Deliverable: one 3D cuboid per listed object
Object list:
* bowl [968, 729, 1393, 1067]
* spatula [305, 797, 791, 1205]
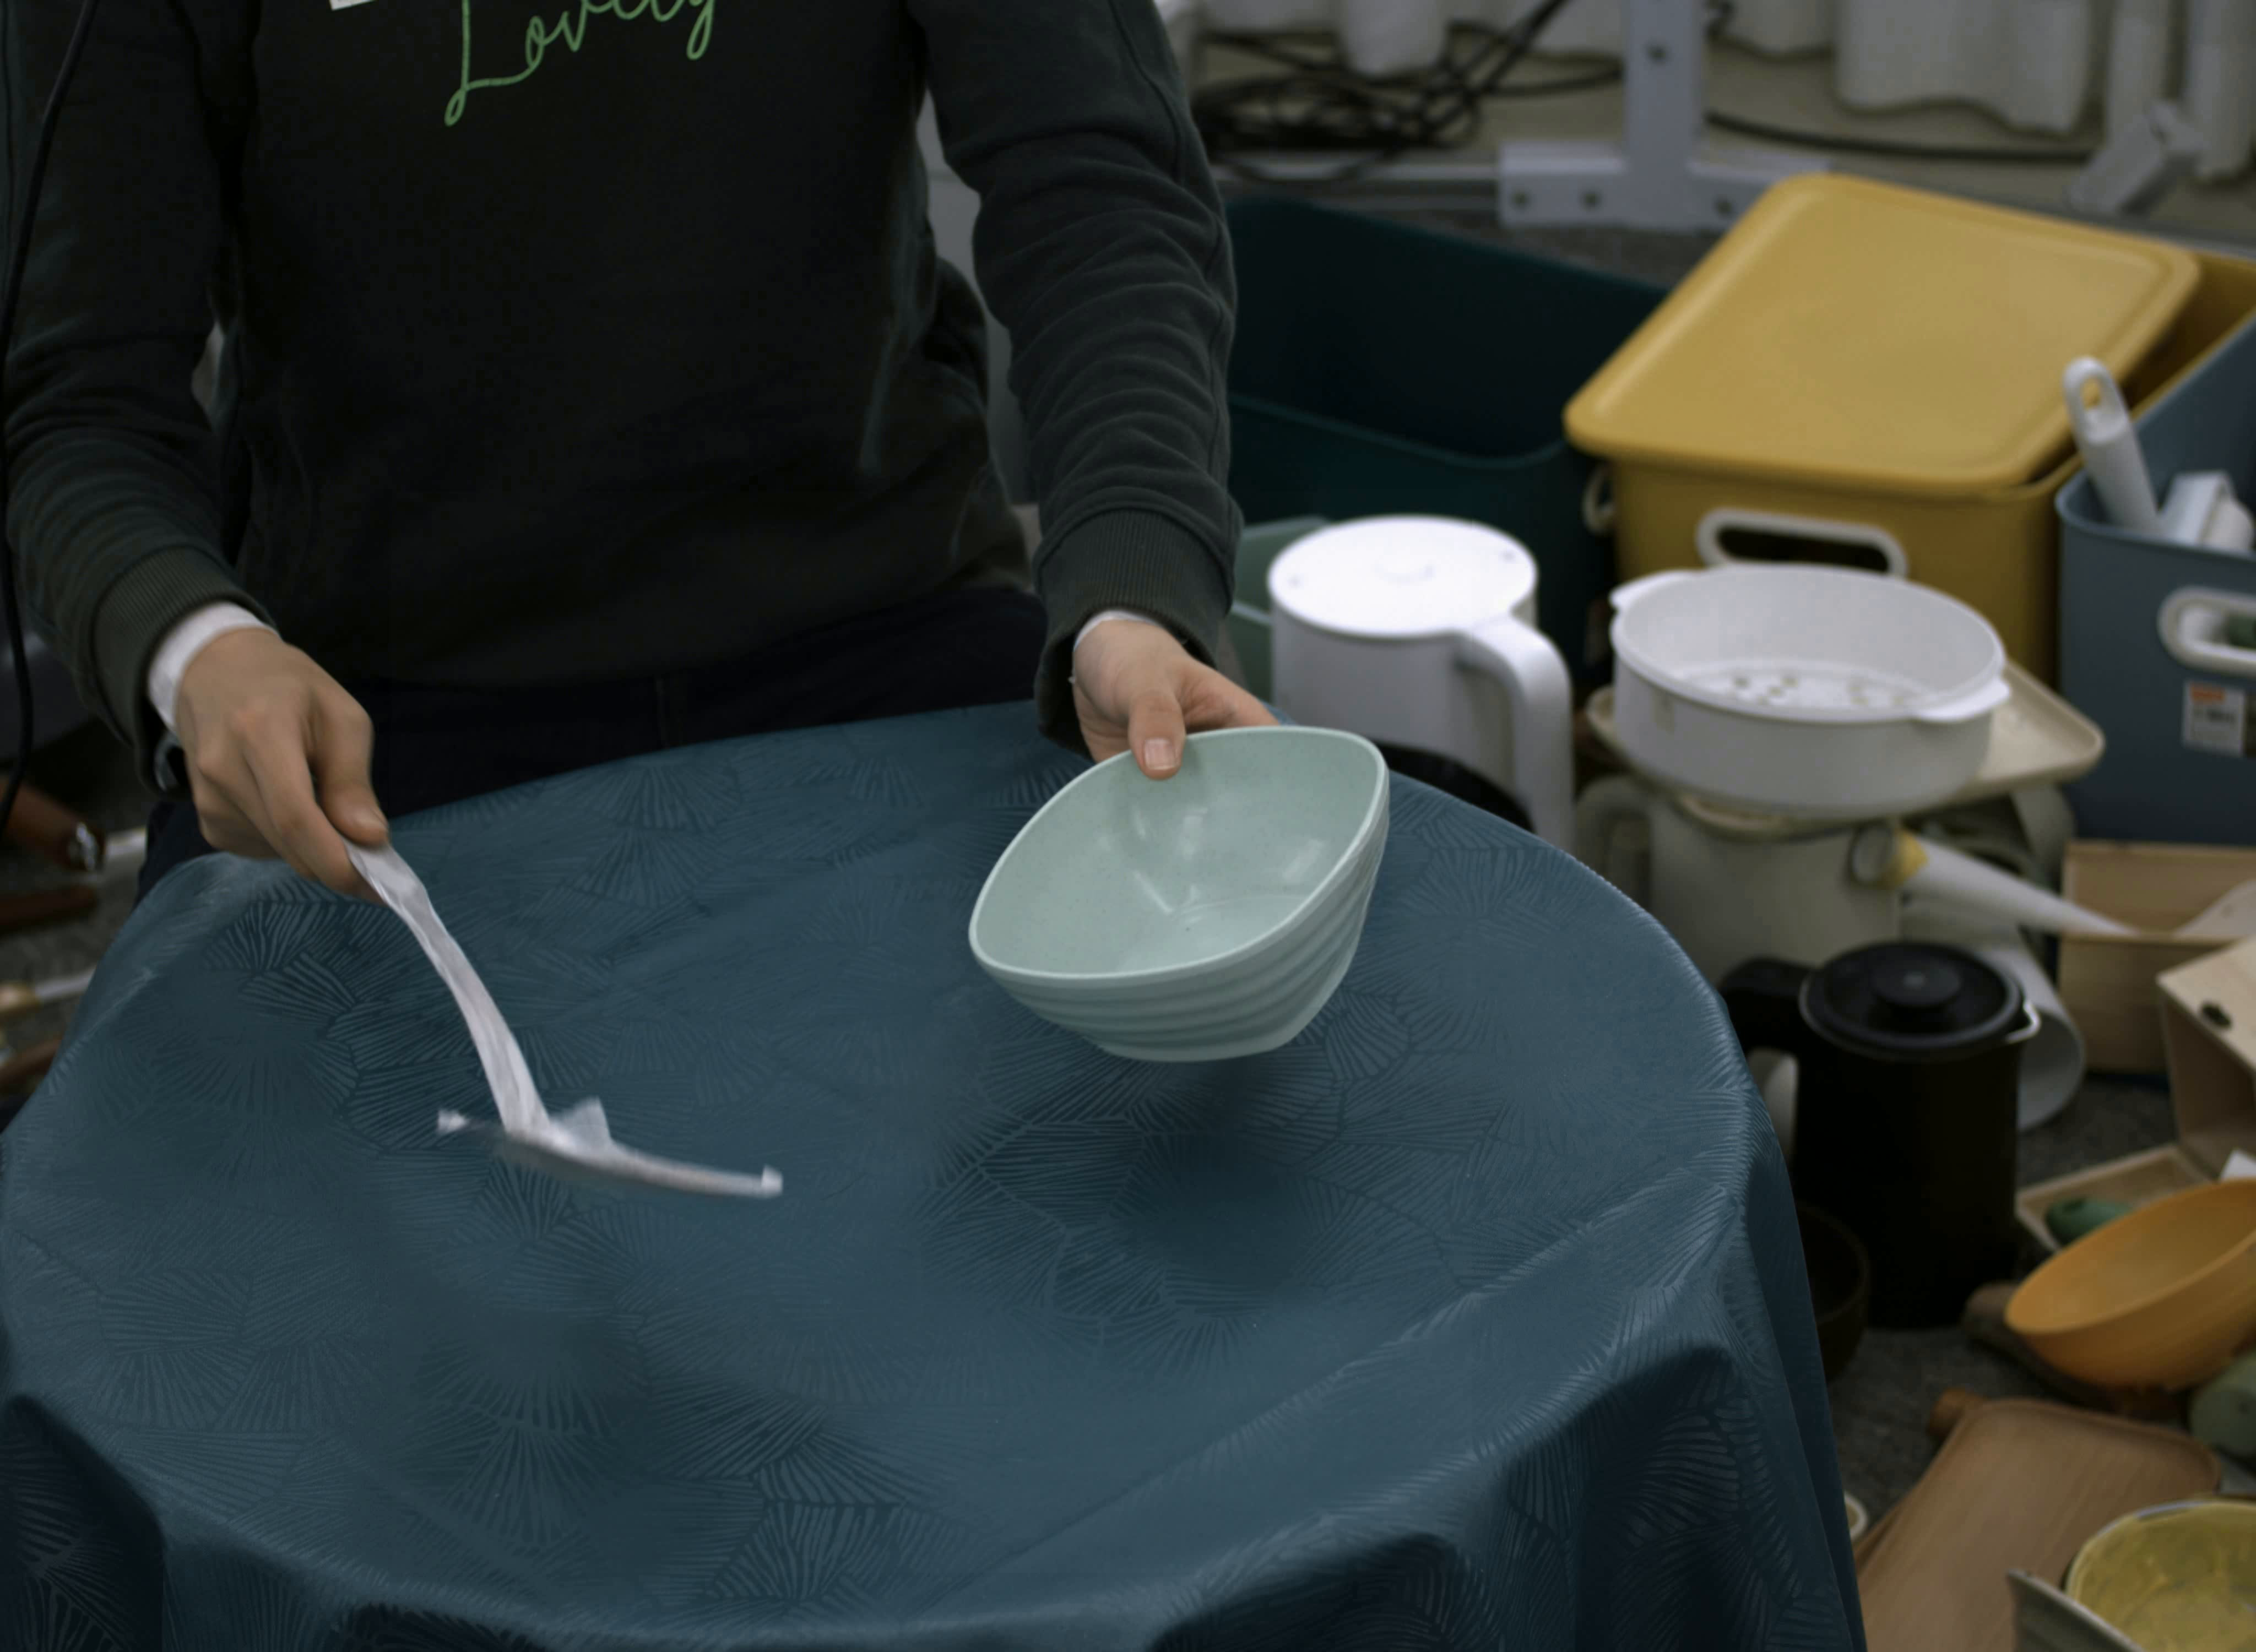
[{"bbox_3d":[0.025,0.032,1.870,0.150,0.058,0.154,-14,32,9],"label":"bowl"},{"bbox_3d":[-0.212,0.049,1.831,0.098,0.044,0.368,12,19,-29],"label":"spatula"}]
